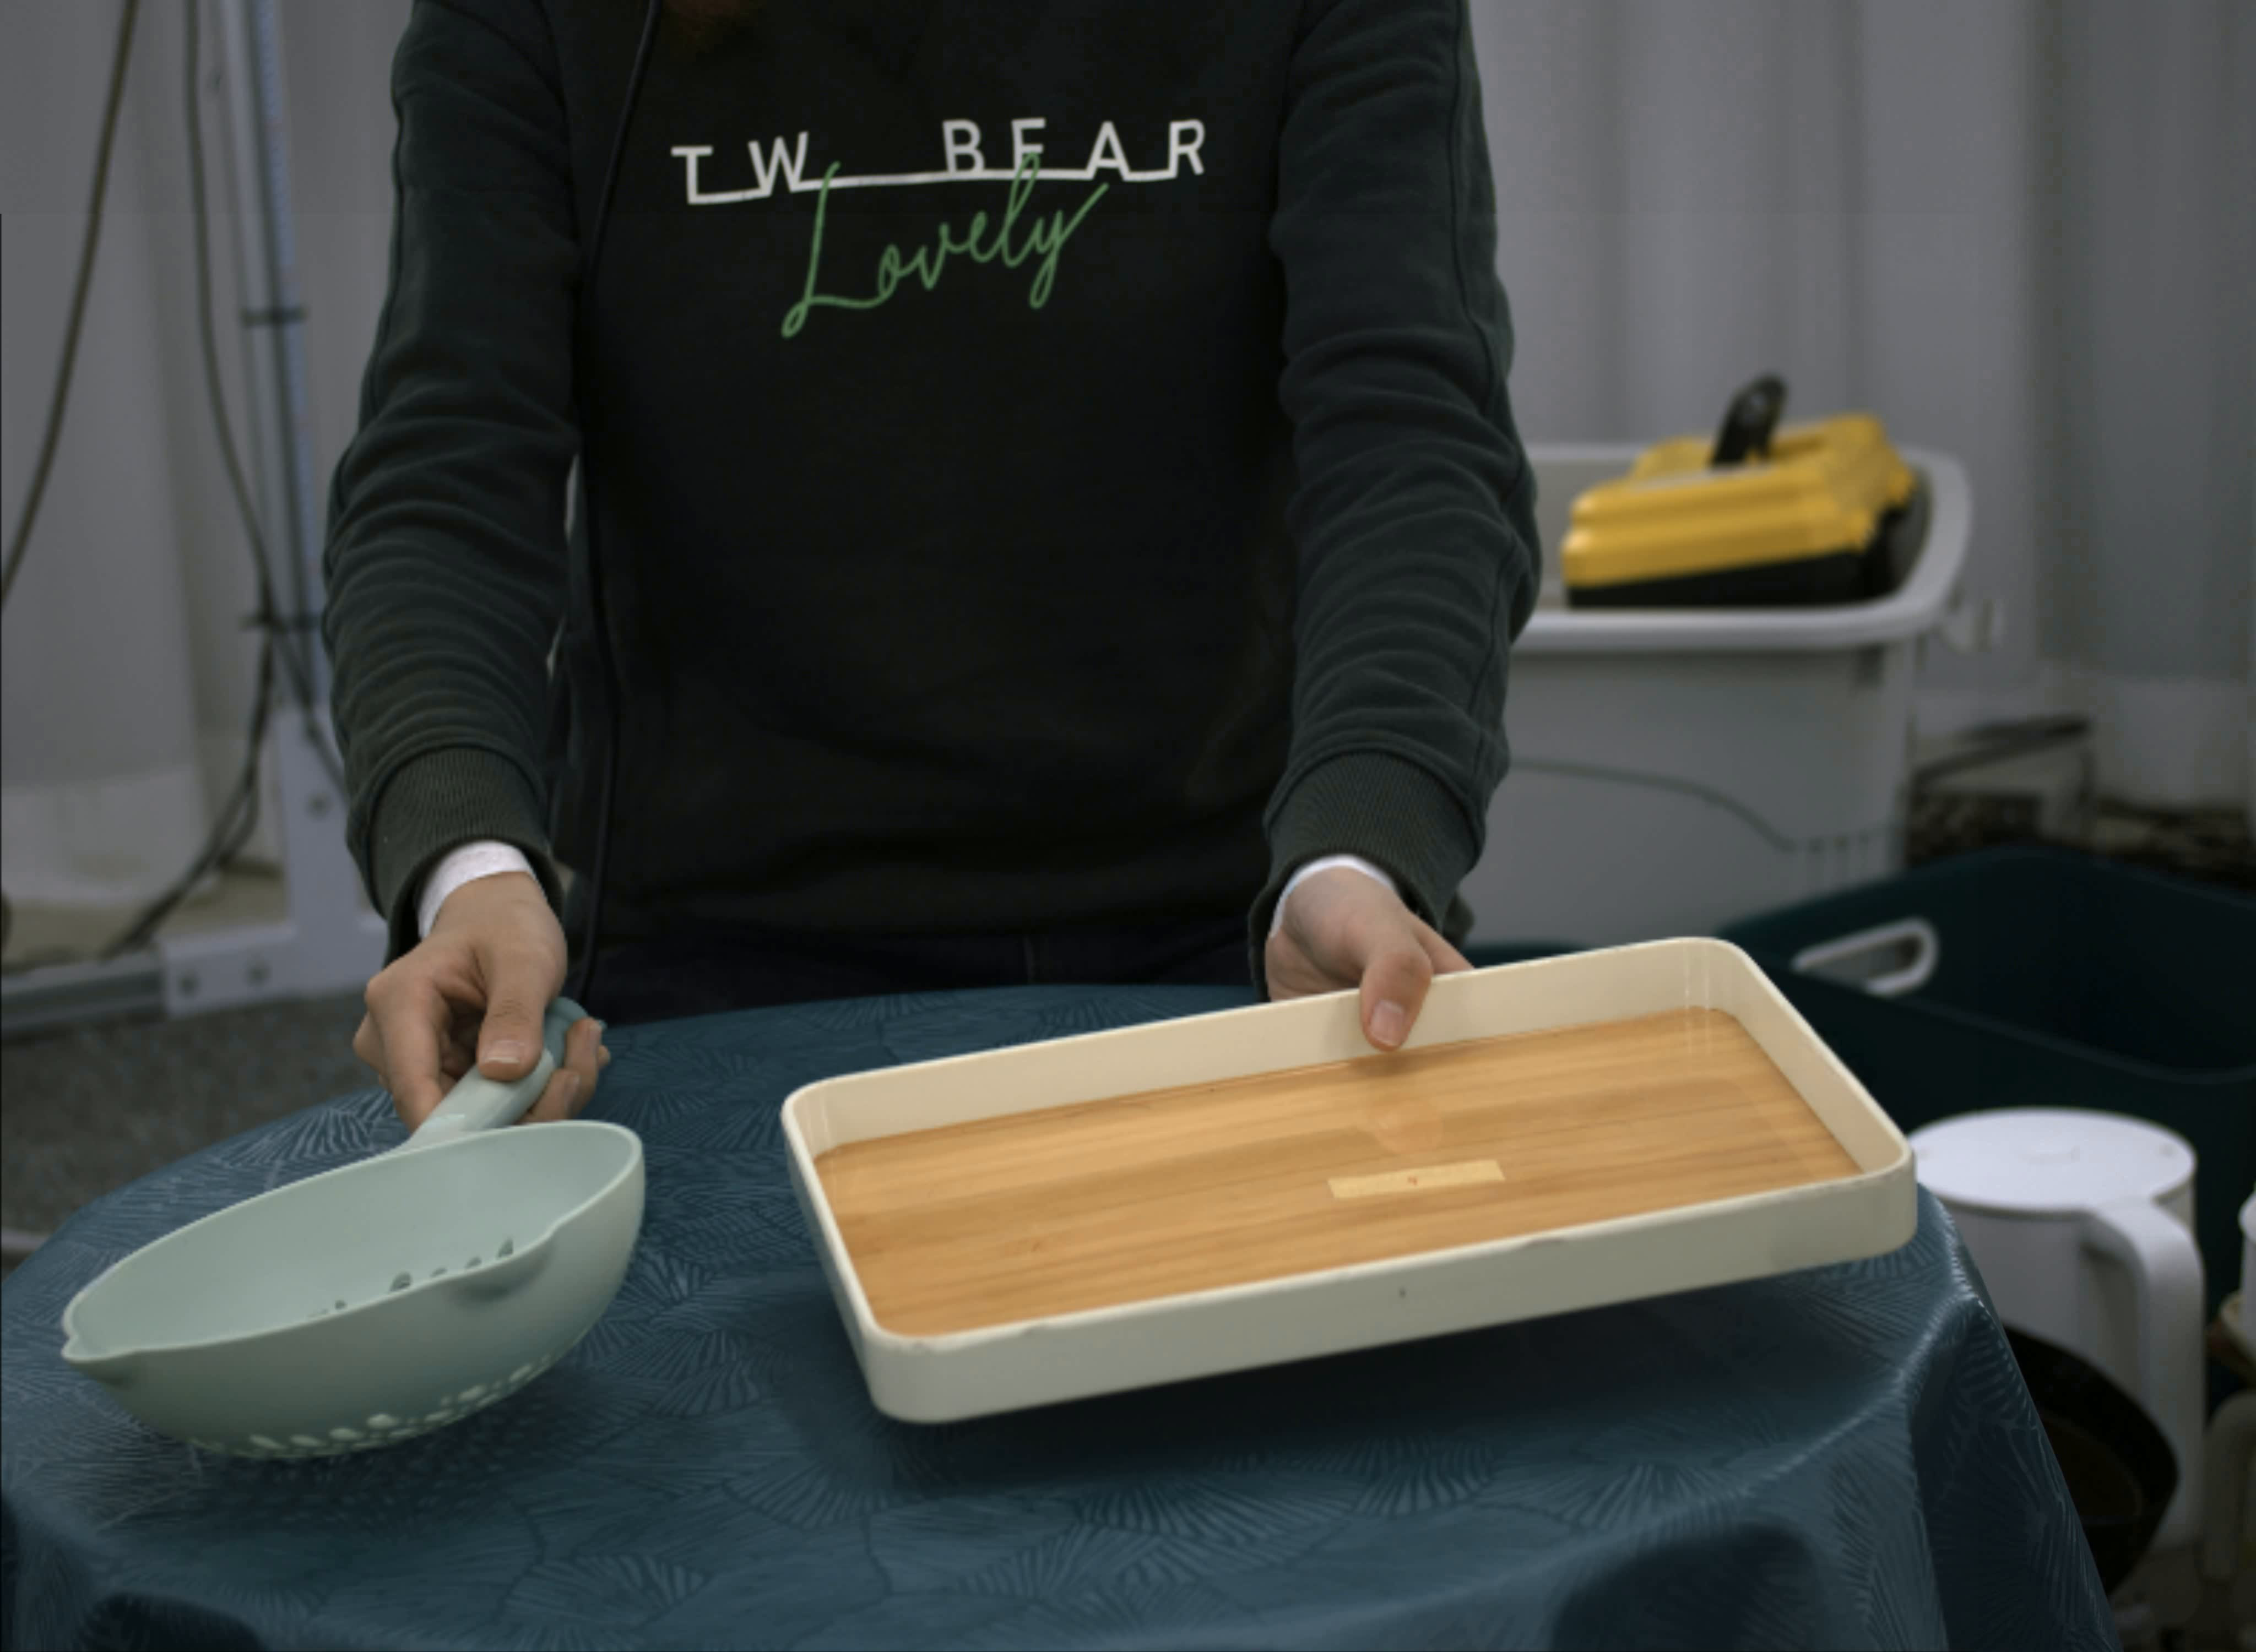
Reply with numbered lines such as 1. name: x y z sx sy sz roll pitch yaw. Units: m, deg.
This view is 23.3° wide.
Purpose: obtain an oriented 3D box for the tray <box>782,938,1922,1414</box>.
1. tray: 0.060 0.097 1.572 0.299 0.027 0.193 -8 21 -9

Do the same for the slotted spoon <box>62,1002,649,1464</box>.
1. slotted spoon: -0.201 0.103 1.625 0.169 0.075 0.362 -13 19 9
